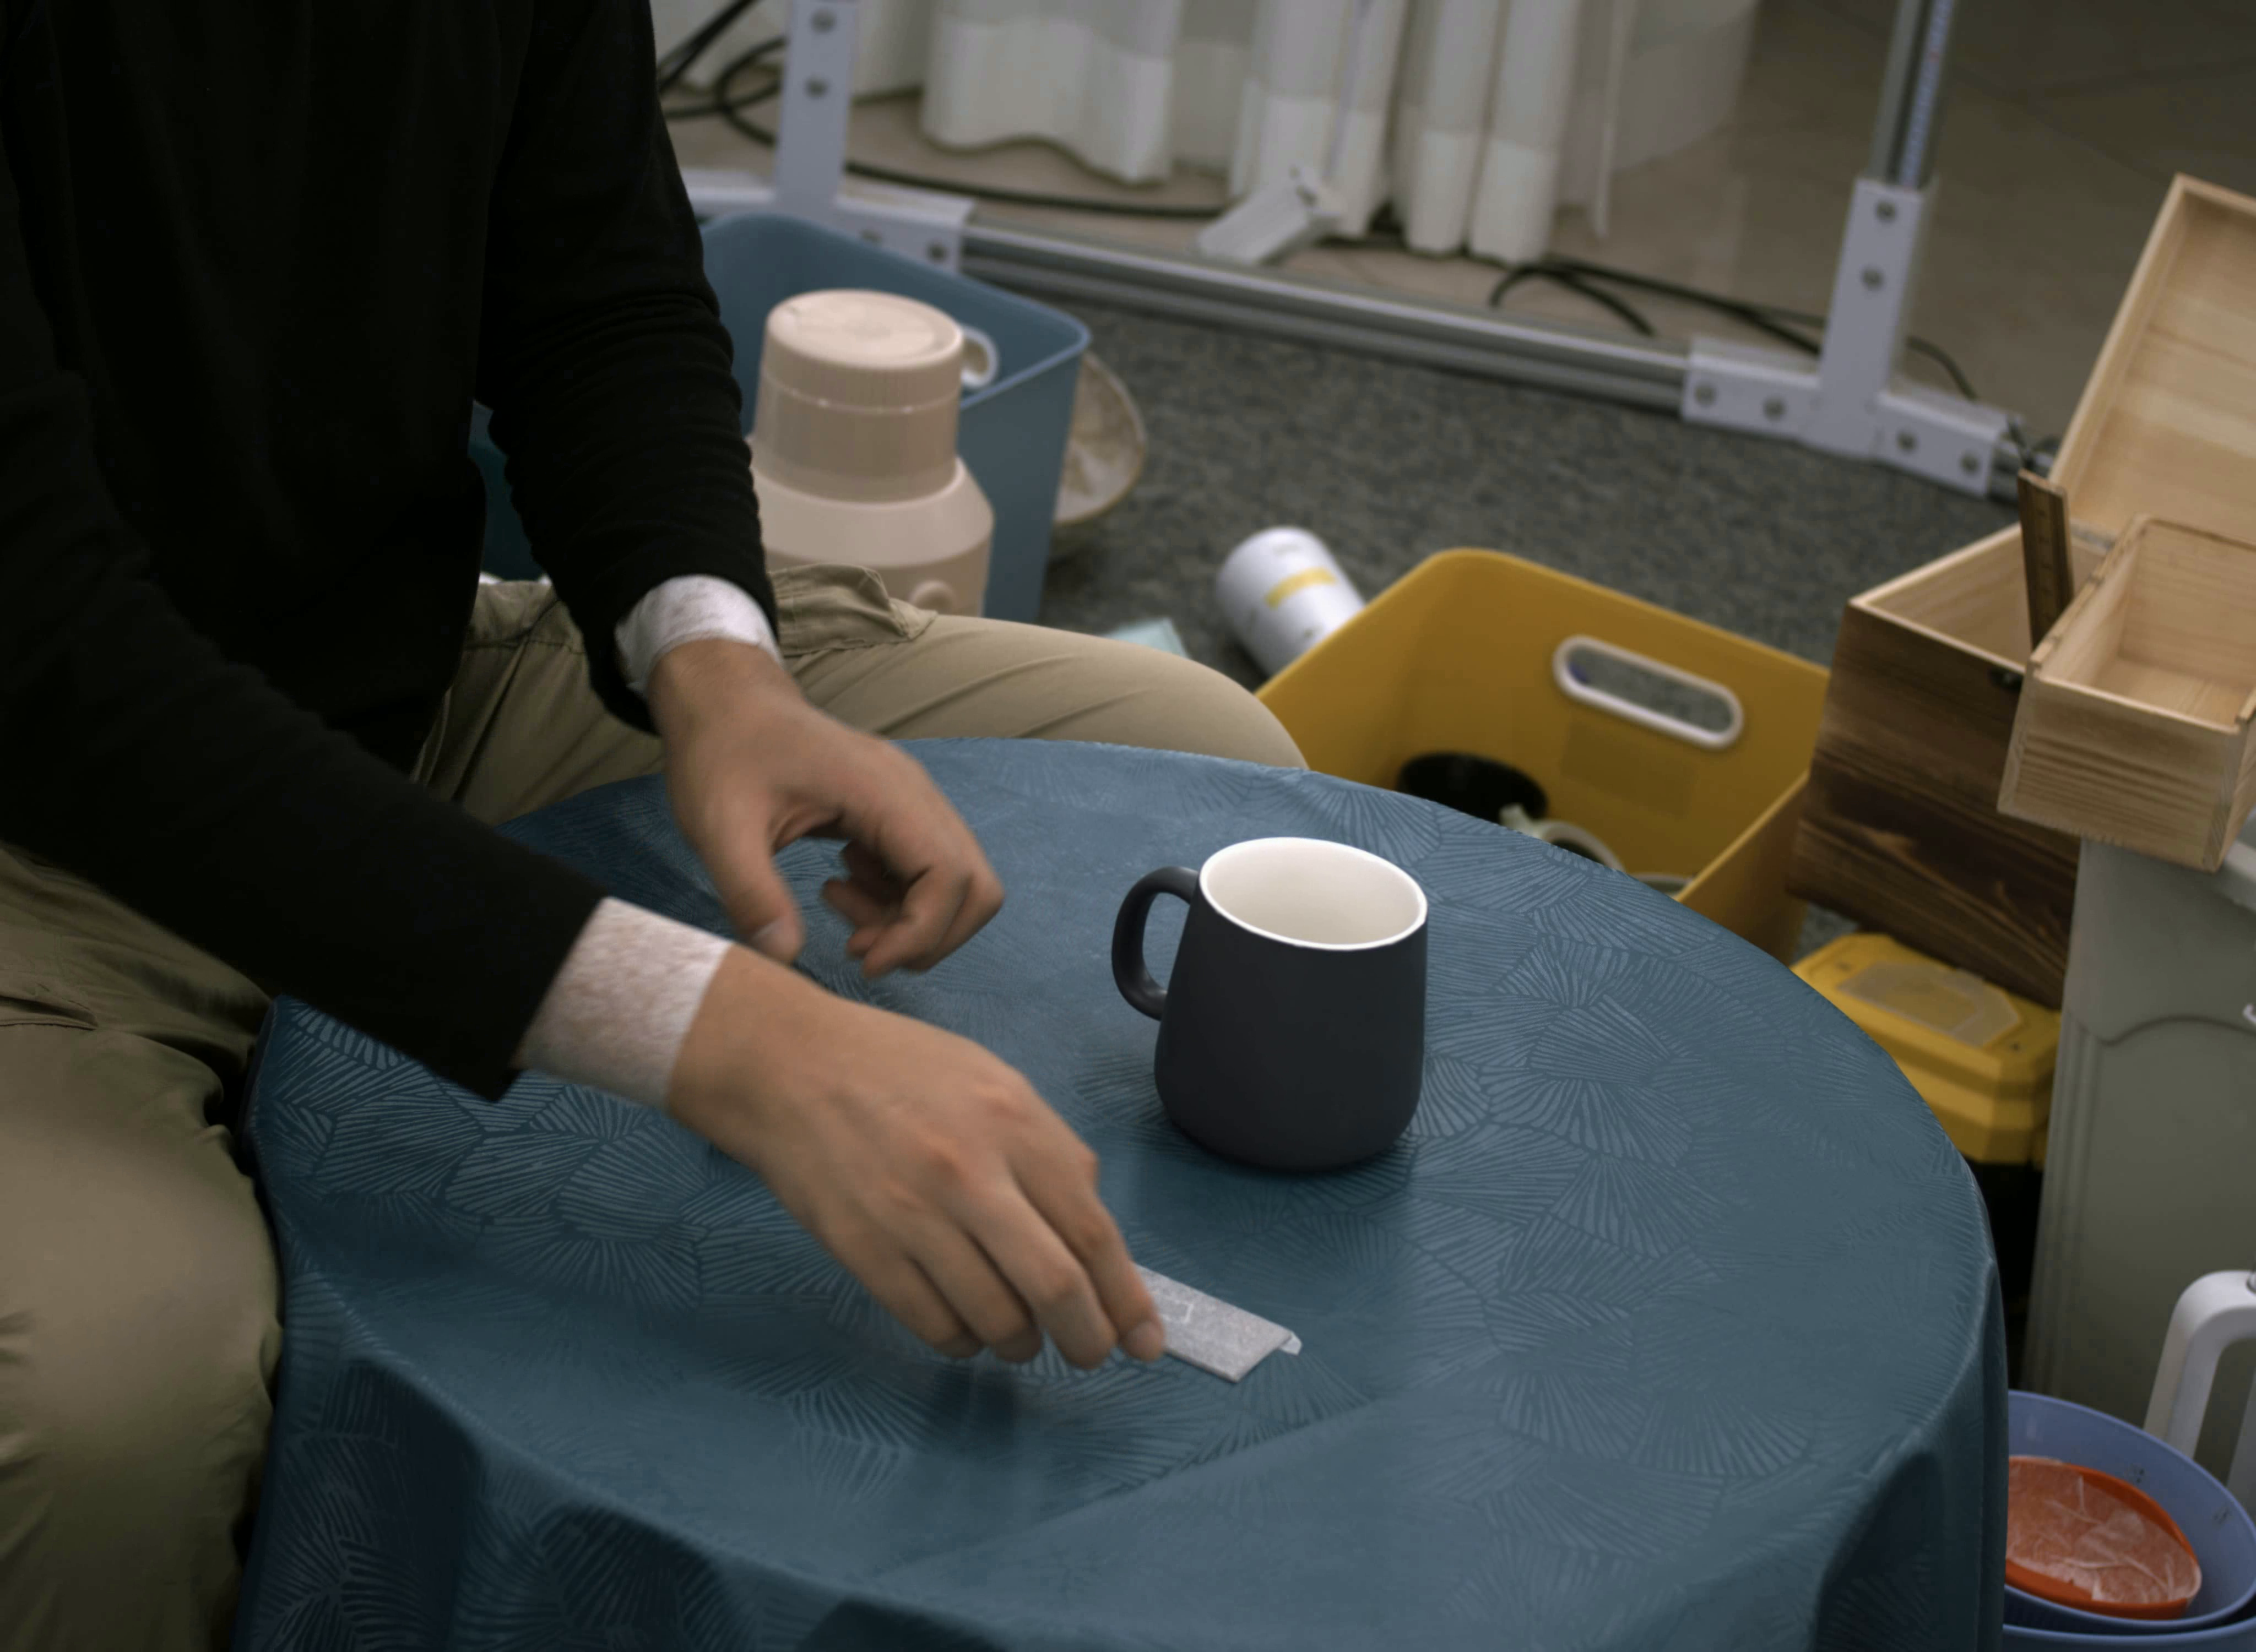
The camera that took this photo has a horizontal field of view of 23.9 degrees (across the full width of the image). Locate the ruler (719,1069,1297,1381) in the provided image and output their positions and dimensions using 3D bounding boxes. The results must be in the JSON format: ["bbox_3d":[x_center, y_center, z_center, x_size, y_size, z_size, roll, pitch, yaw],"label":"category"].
[{"bbox_3d":[-0.045,0.129,1.758,0.219,0.024,0.038,21,37,28],"label":"ruler"}]

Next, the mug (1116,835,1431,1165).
[{"bbox_3d":[0.047,0.055,1.845,0.124,0.089,0.093,26,32,32],"label":"mug"}]
